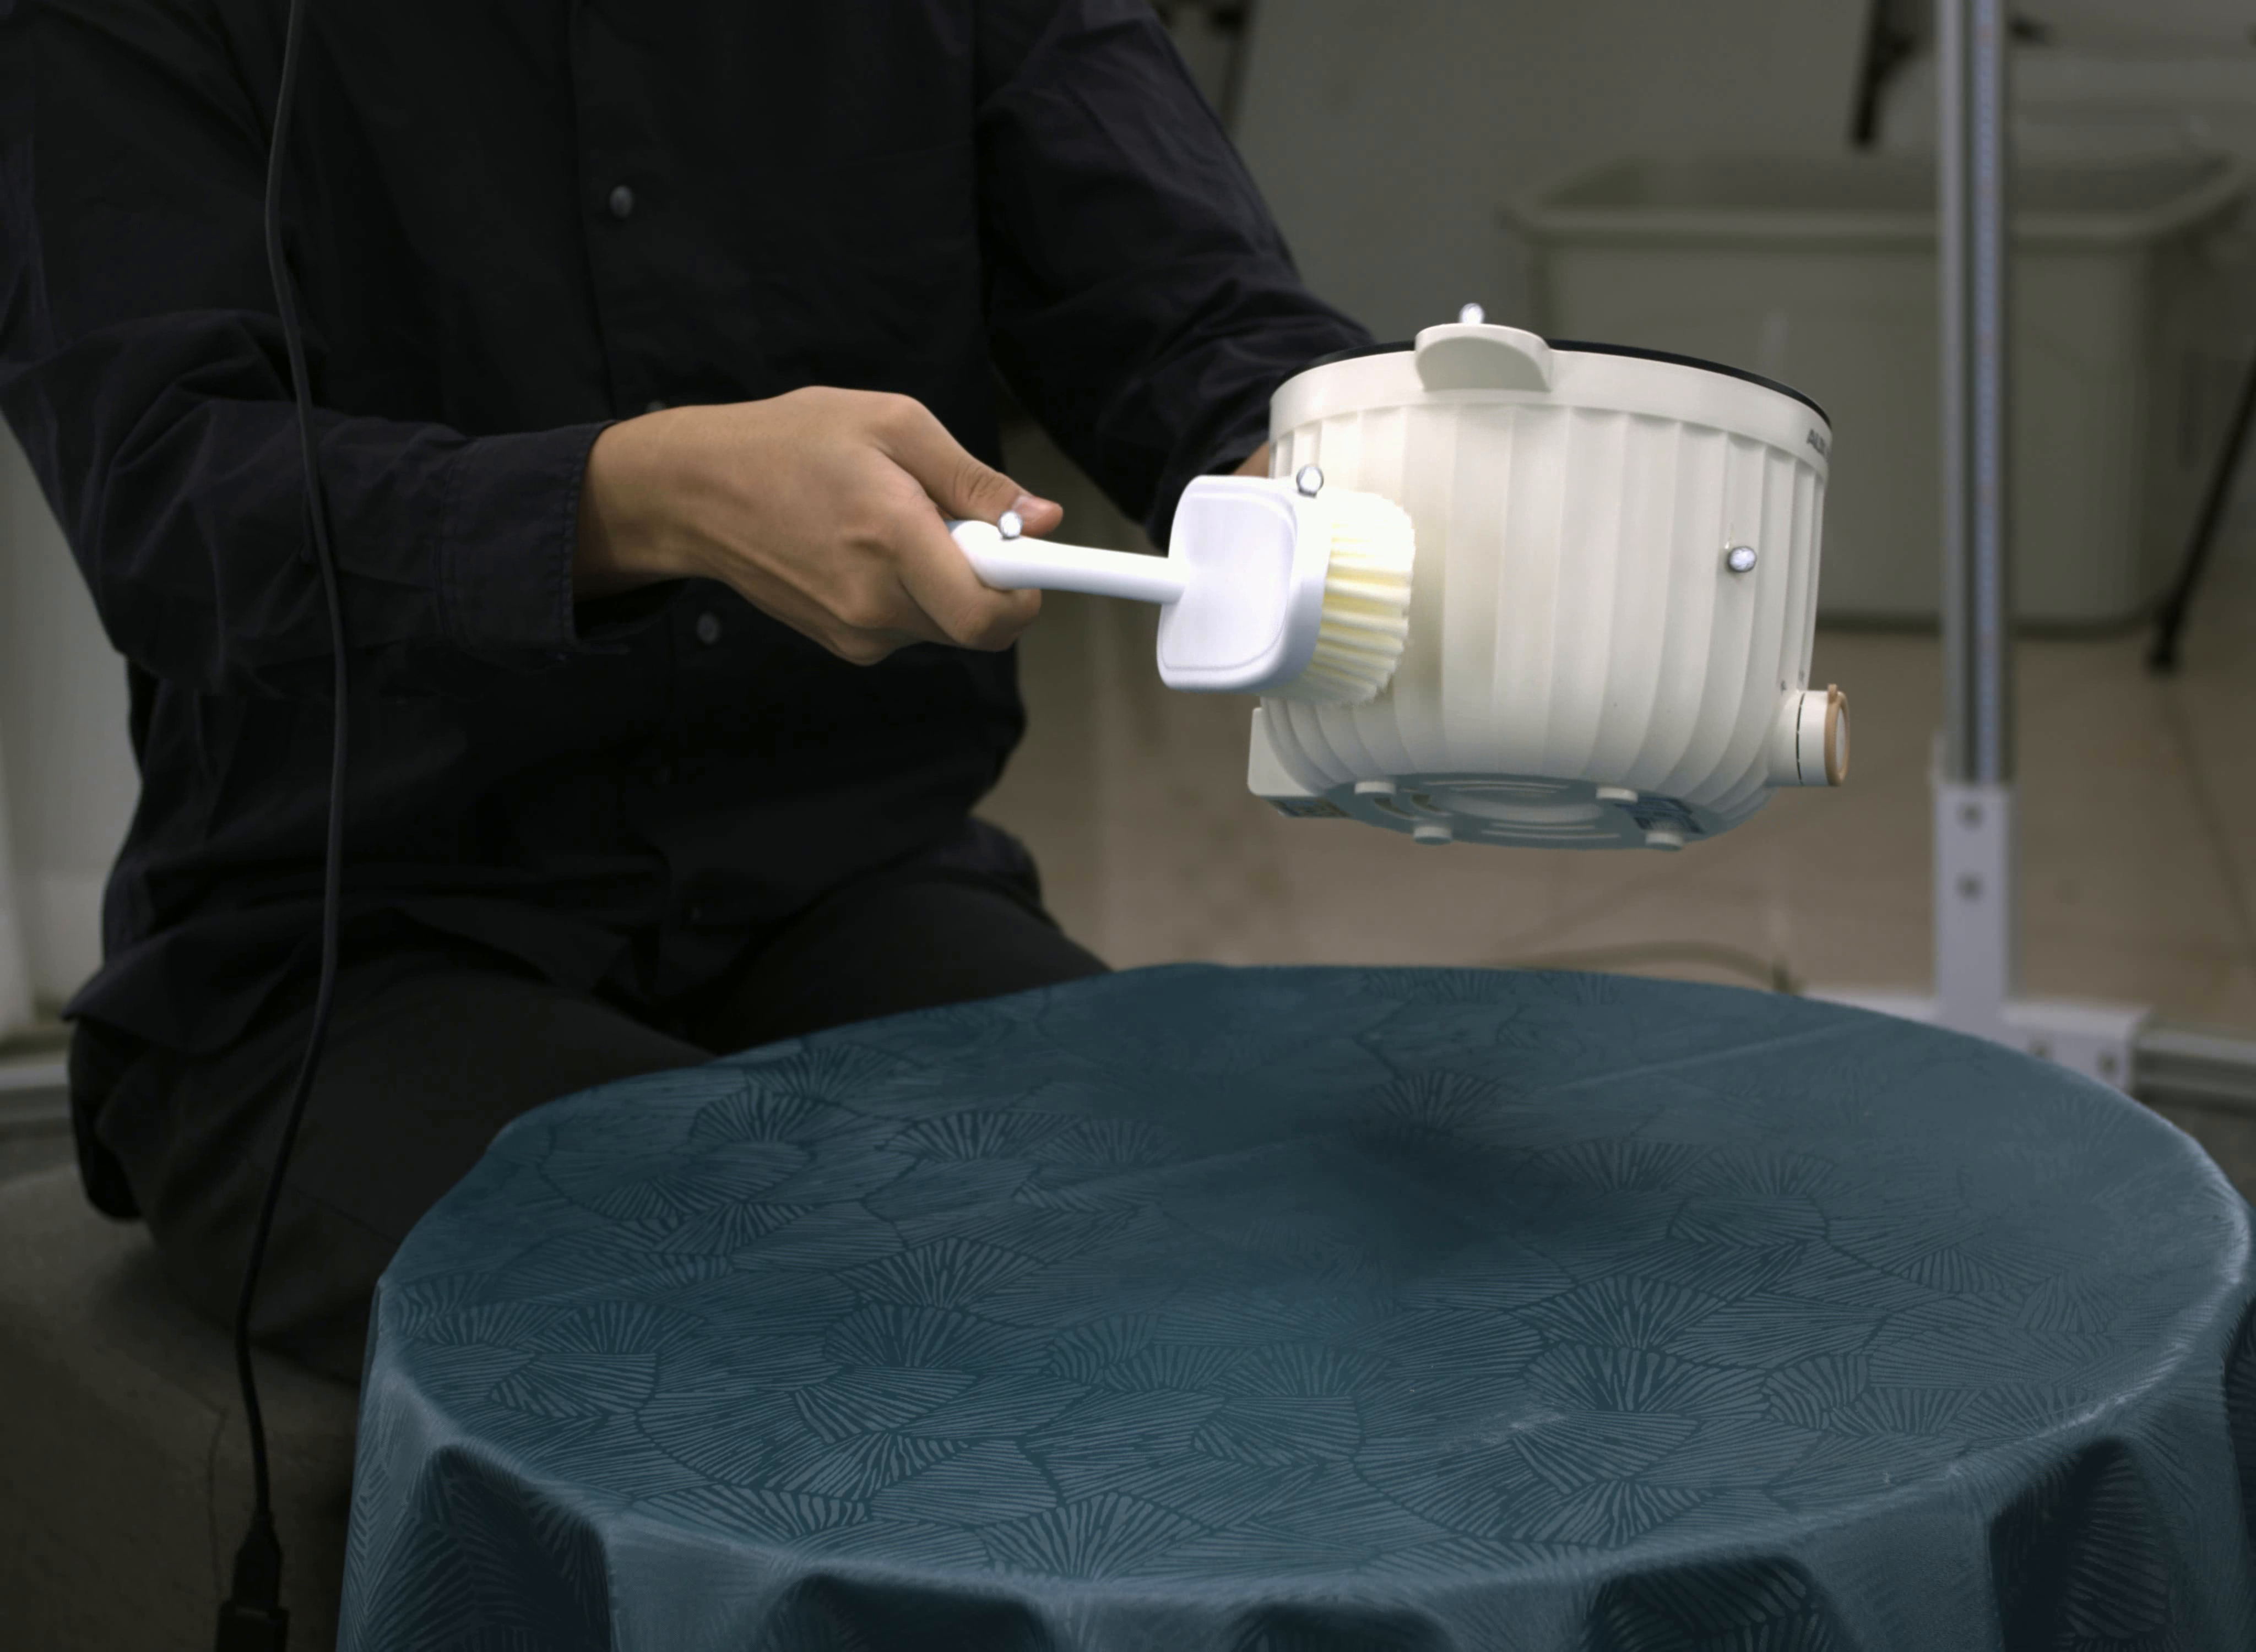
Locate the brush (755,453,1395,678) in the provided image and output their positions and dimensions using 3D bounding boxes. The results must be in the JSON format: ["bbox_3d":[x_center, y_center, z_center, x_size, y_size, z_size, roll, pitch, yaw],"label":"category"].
[{"bbox_3d":[-0.006,-0.089,1.727,0.083,0.084,0.329,-52,27,-18],"label":"brush"}]

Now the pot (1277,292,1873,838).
[{"bbox_3d":[0.145,-0.074,1.734,0.190,0.144,0.238,-1,-11,16],"label":"pot"}]
